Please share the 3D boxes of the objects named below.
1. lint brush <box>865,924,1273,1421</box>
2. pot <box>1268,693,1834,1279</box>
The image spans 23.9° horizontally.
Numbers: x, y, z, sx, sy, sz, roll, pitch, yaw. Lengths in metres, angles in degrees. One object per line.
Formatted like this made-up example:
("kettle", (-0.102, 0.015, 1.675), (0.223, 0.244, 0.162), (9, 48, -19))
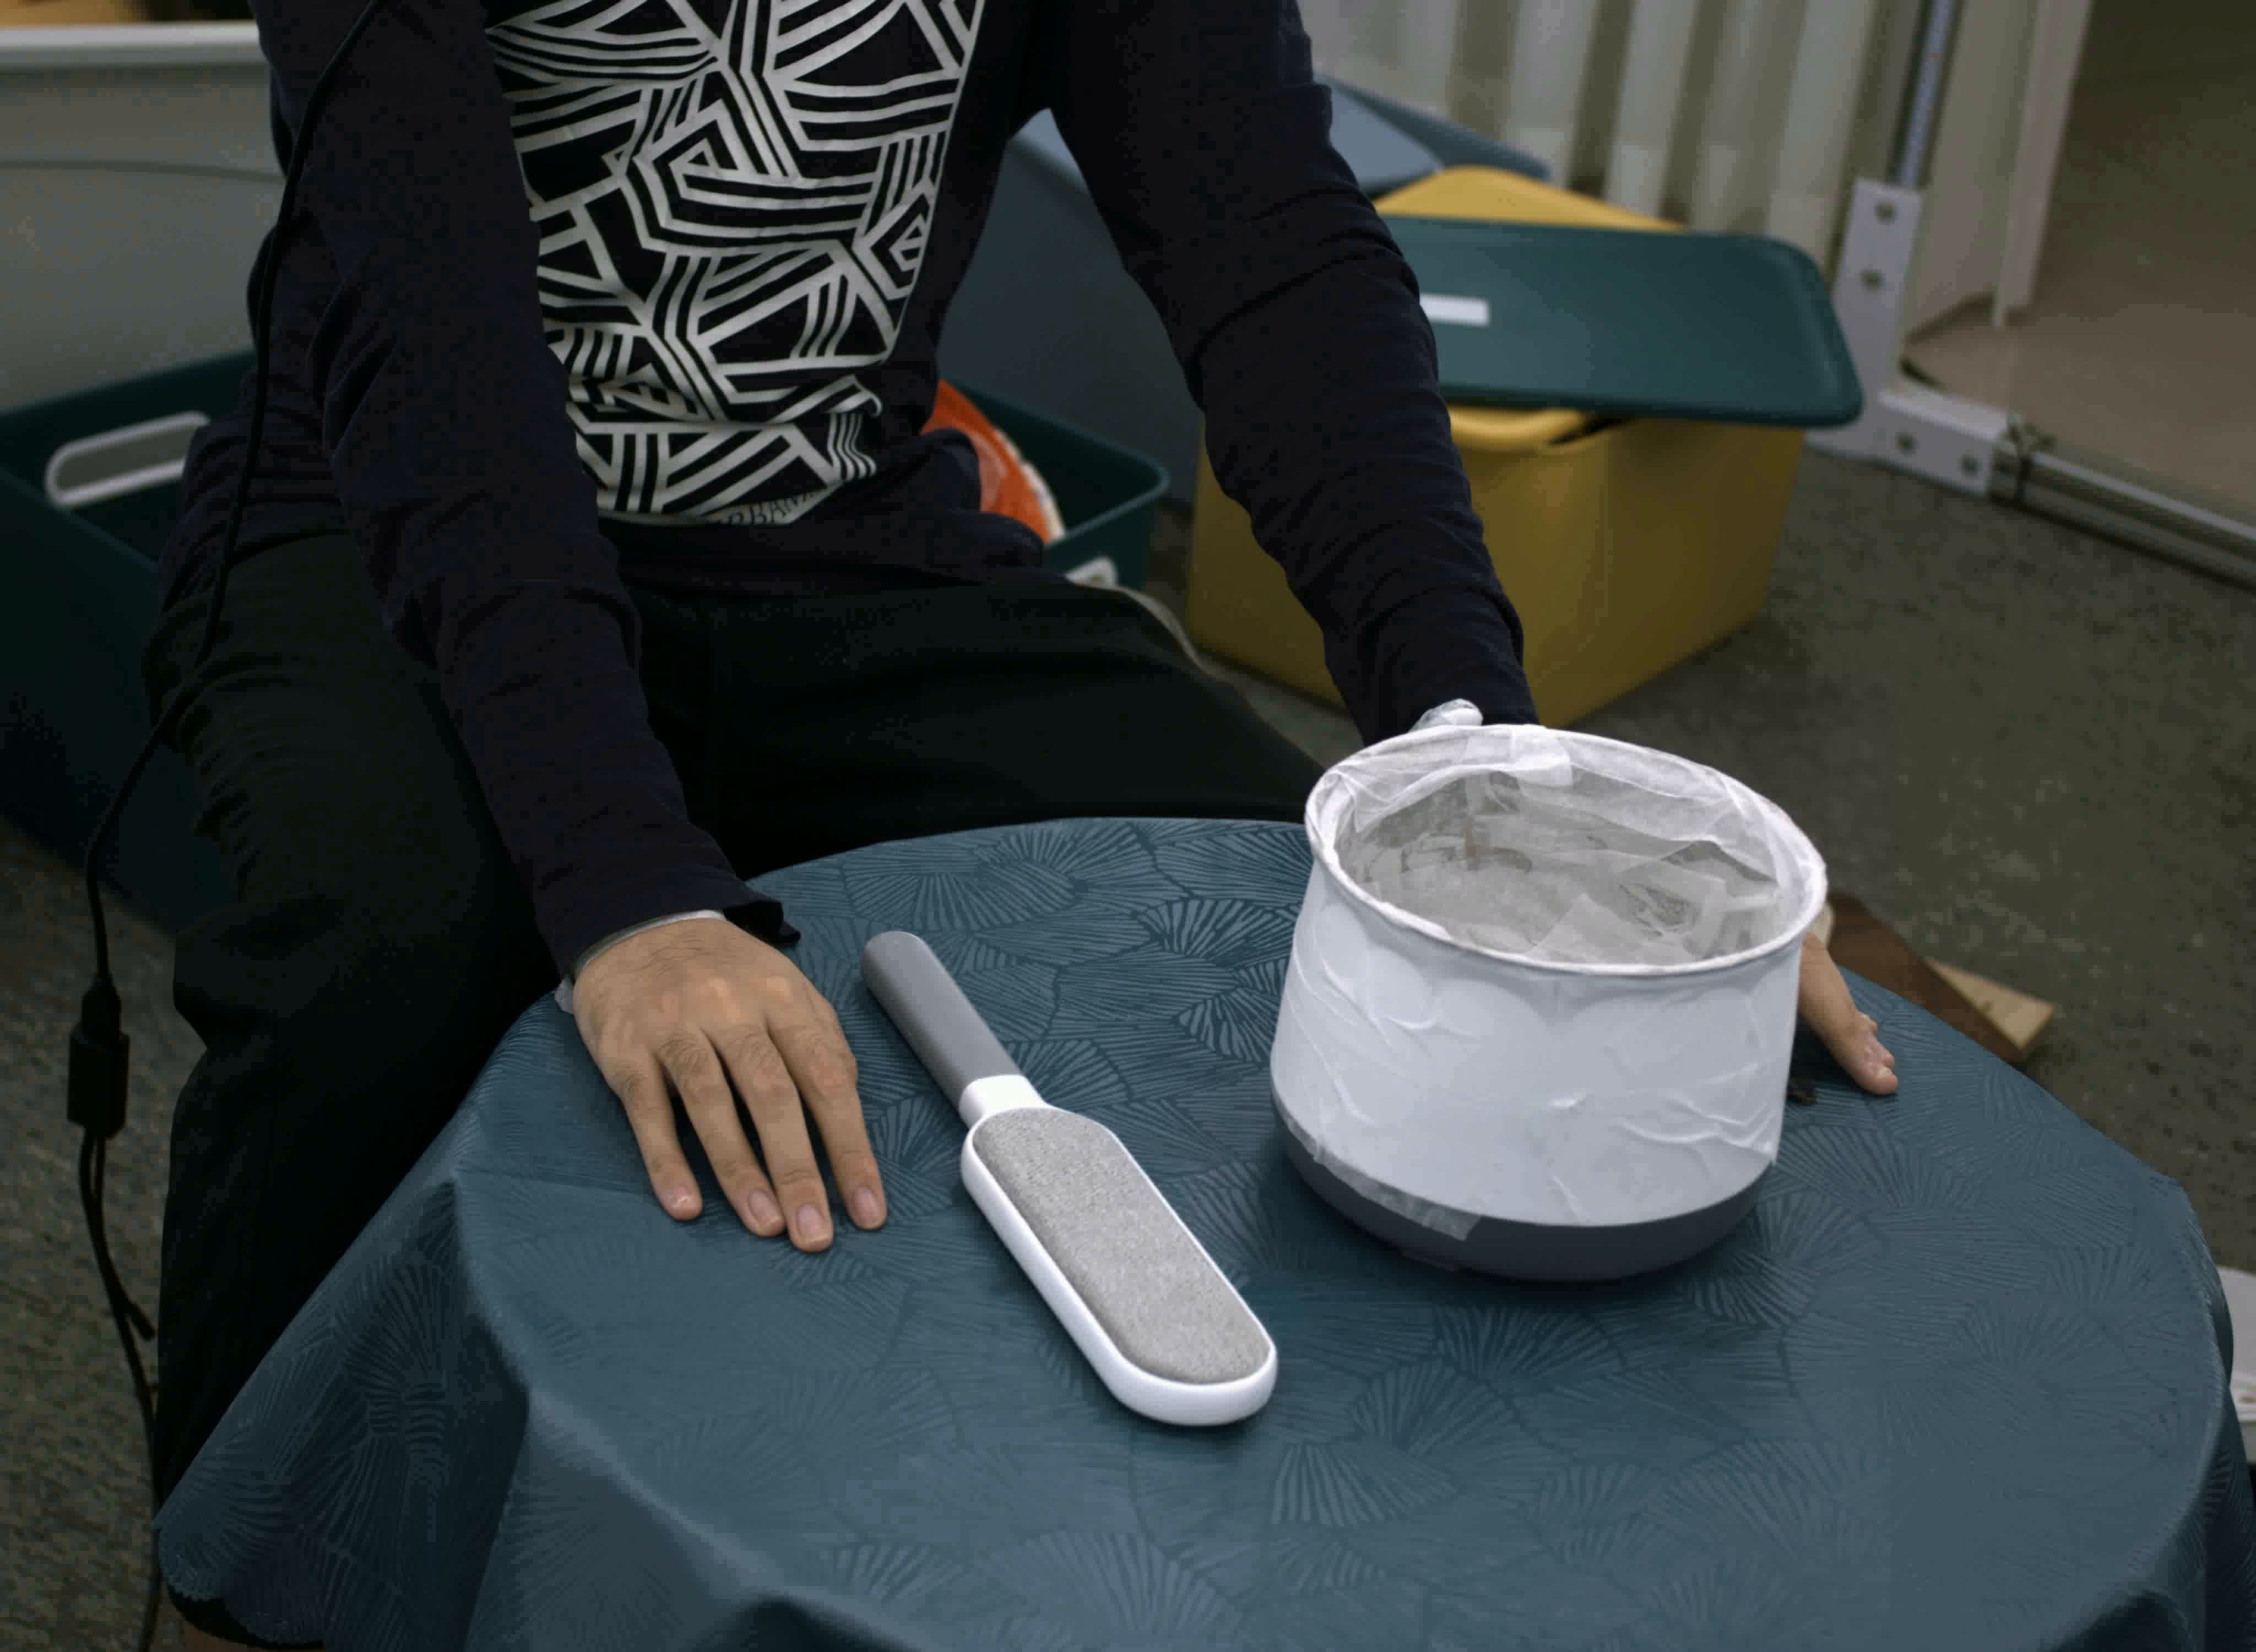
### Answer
("lint brush", (-0.028, 0.111, 1.794), (0.060, 0.021, 0.312), (-11, 31, -19))
("pot", (0.131, 0.048, 1.831), (0.177, 0.136, 0.236), (-1, 28, -20))
